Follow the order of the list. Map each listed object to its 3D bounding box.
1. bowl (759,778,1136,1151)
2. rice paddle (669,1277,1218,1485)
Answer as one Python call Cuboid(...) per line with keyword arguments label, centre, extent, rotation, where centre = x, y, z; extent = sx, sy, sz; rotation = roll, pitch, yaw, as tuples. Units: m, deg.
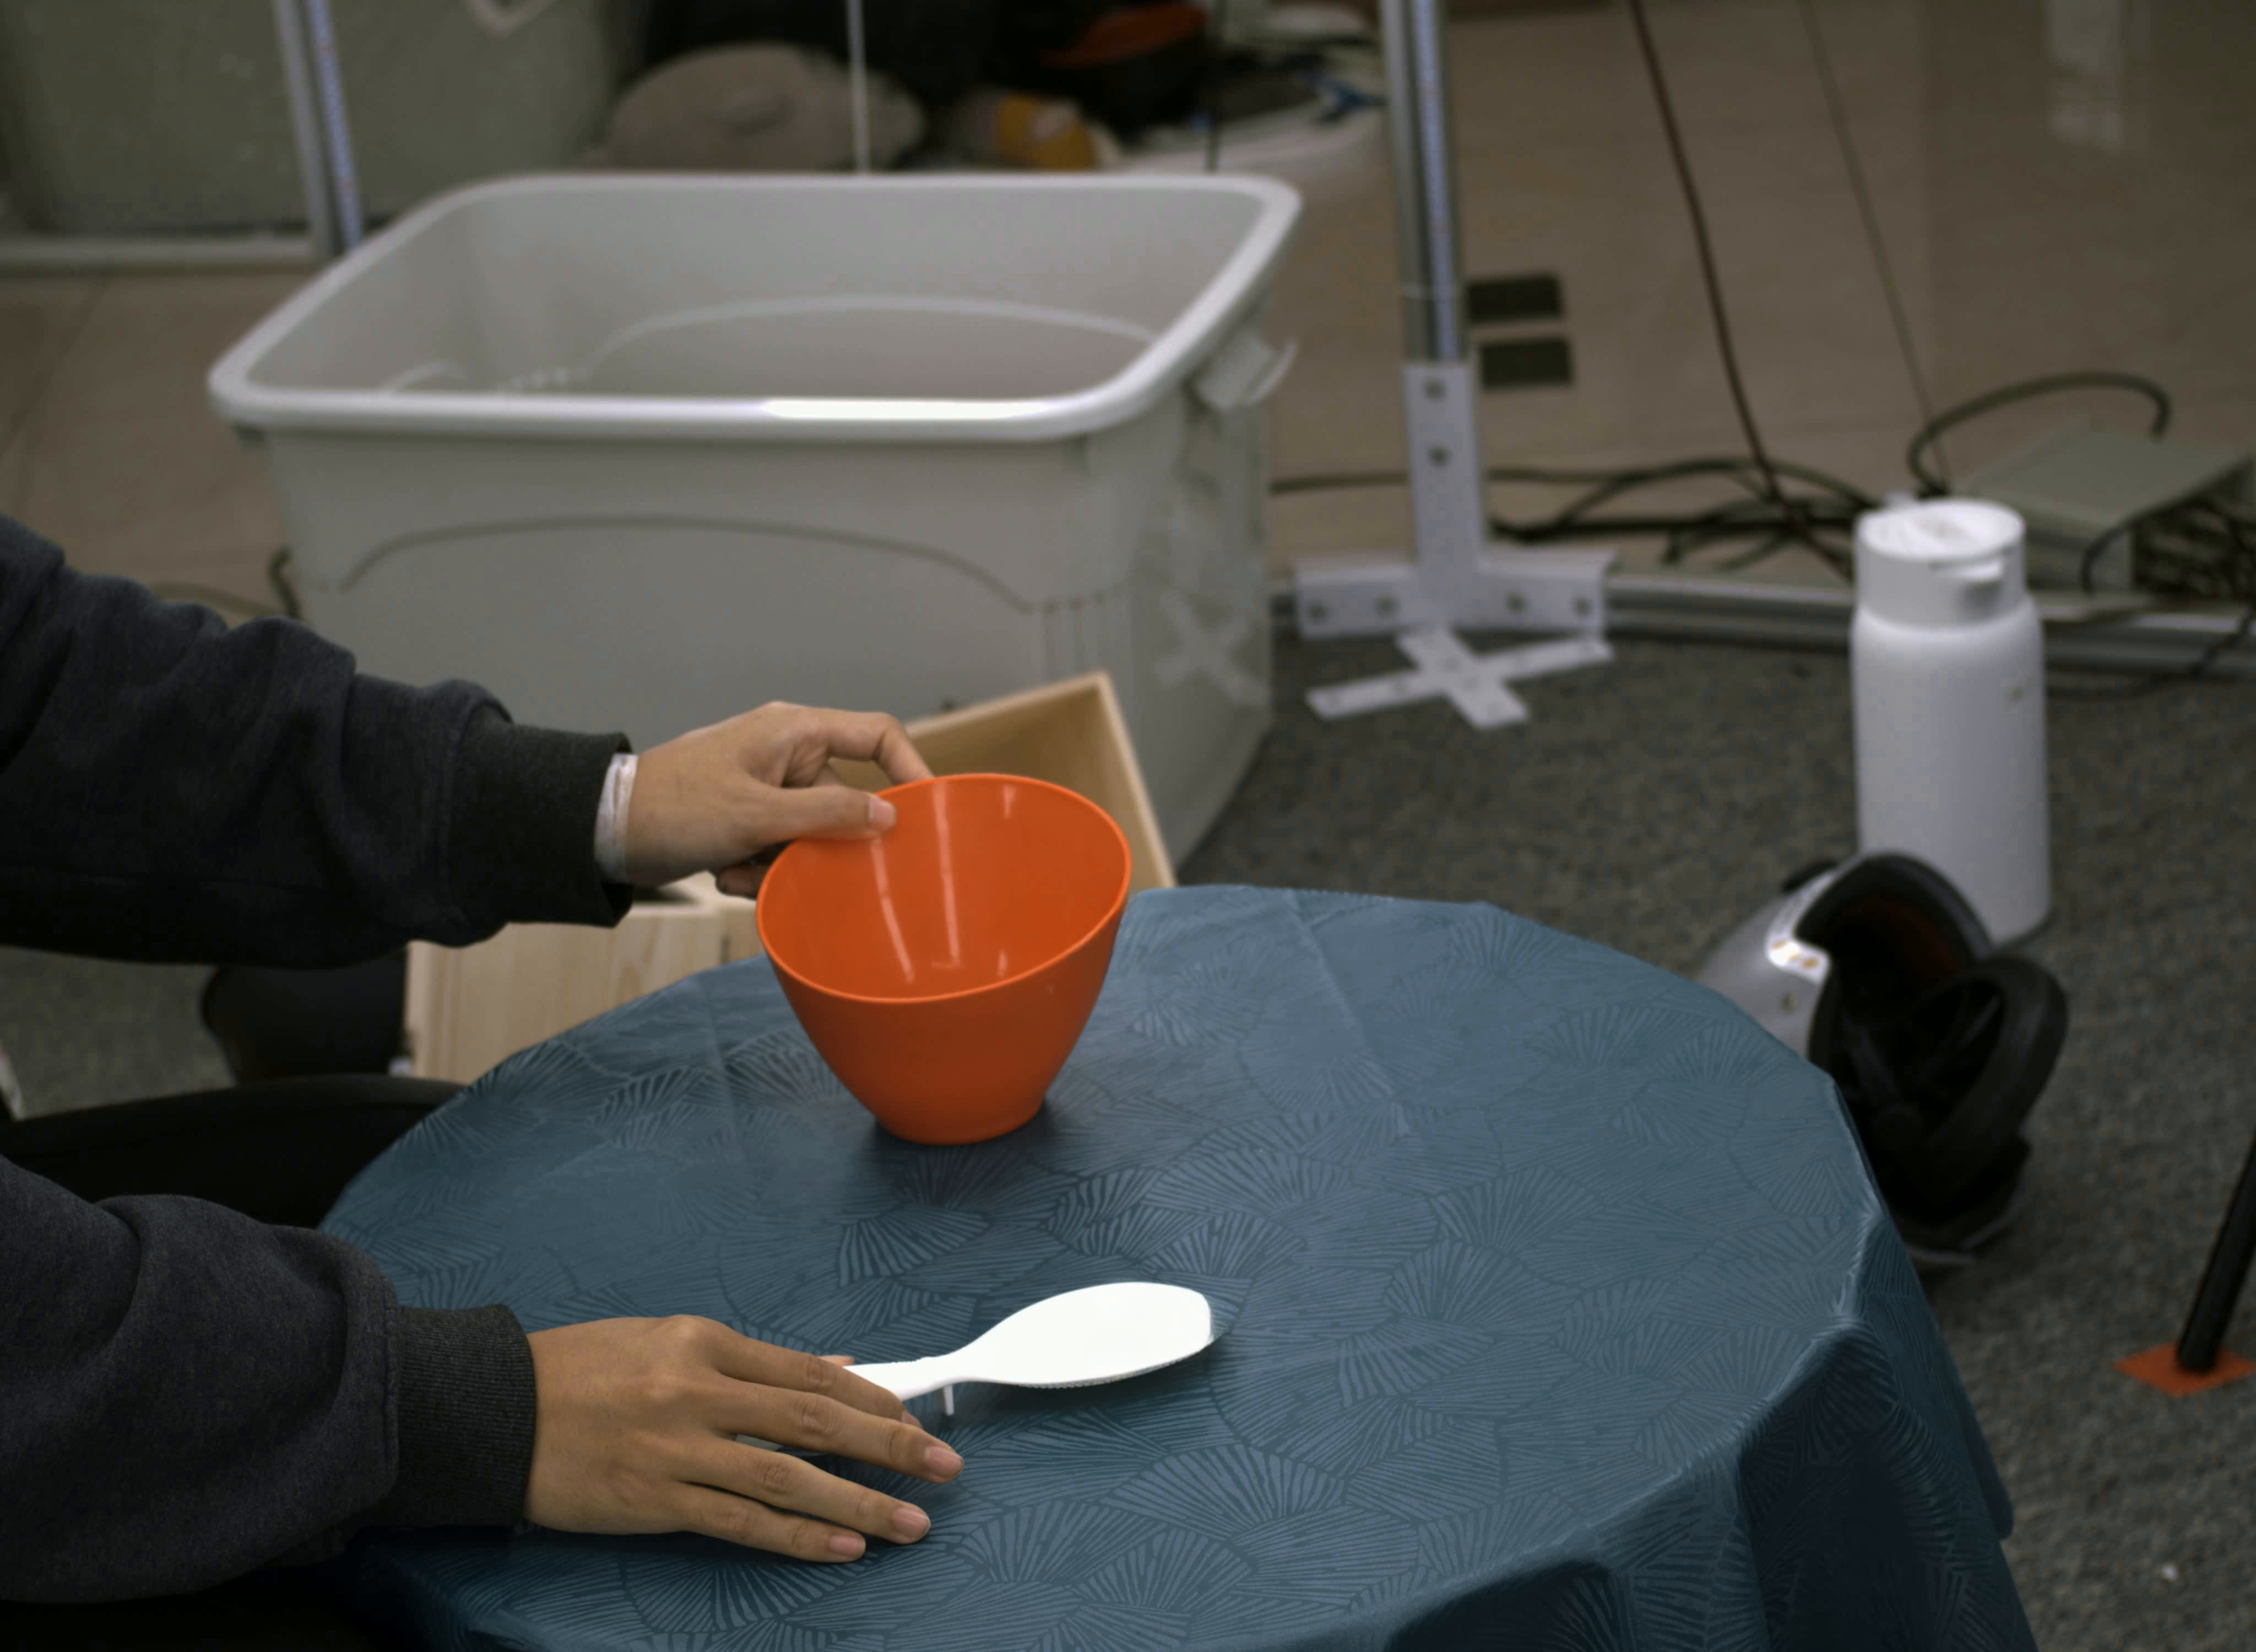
Cuboid(label="bowl", centre=(-0.067, 0.060, 2.210), extent=(0.148, 0.106, 0.146), rotation=(-4, 27, 2))
Cuboid(label="rice paddle", centre=(-0.062, 0.191, 2.006), extent=(0.204, 0.030, 0.068), rotation=(-14, 25, -21))
